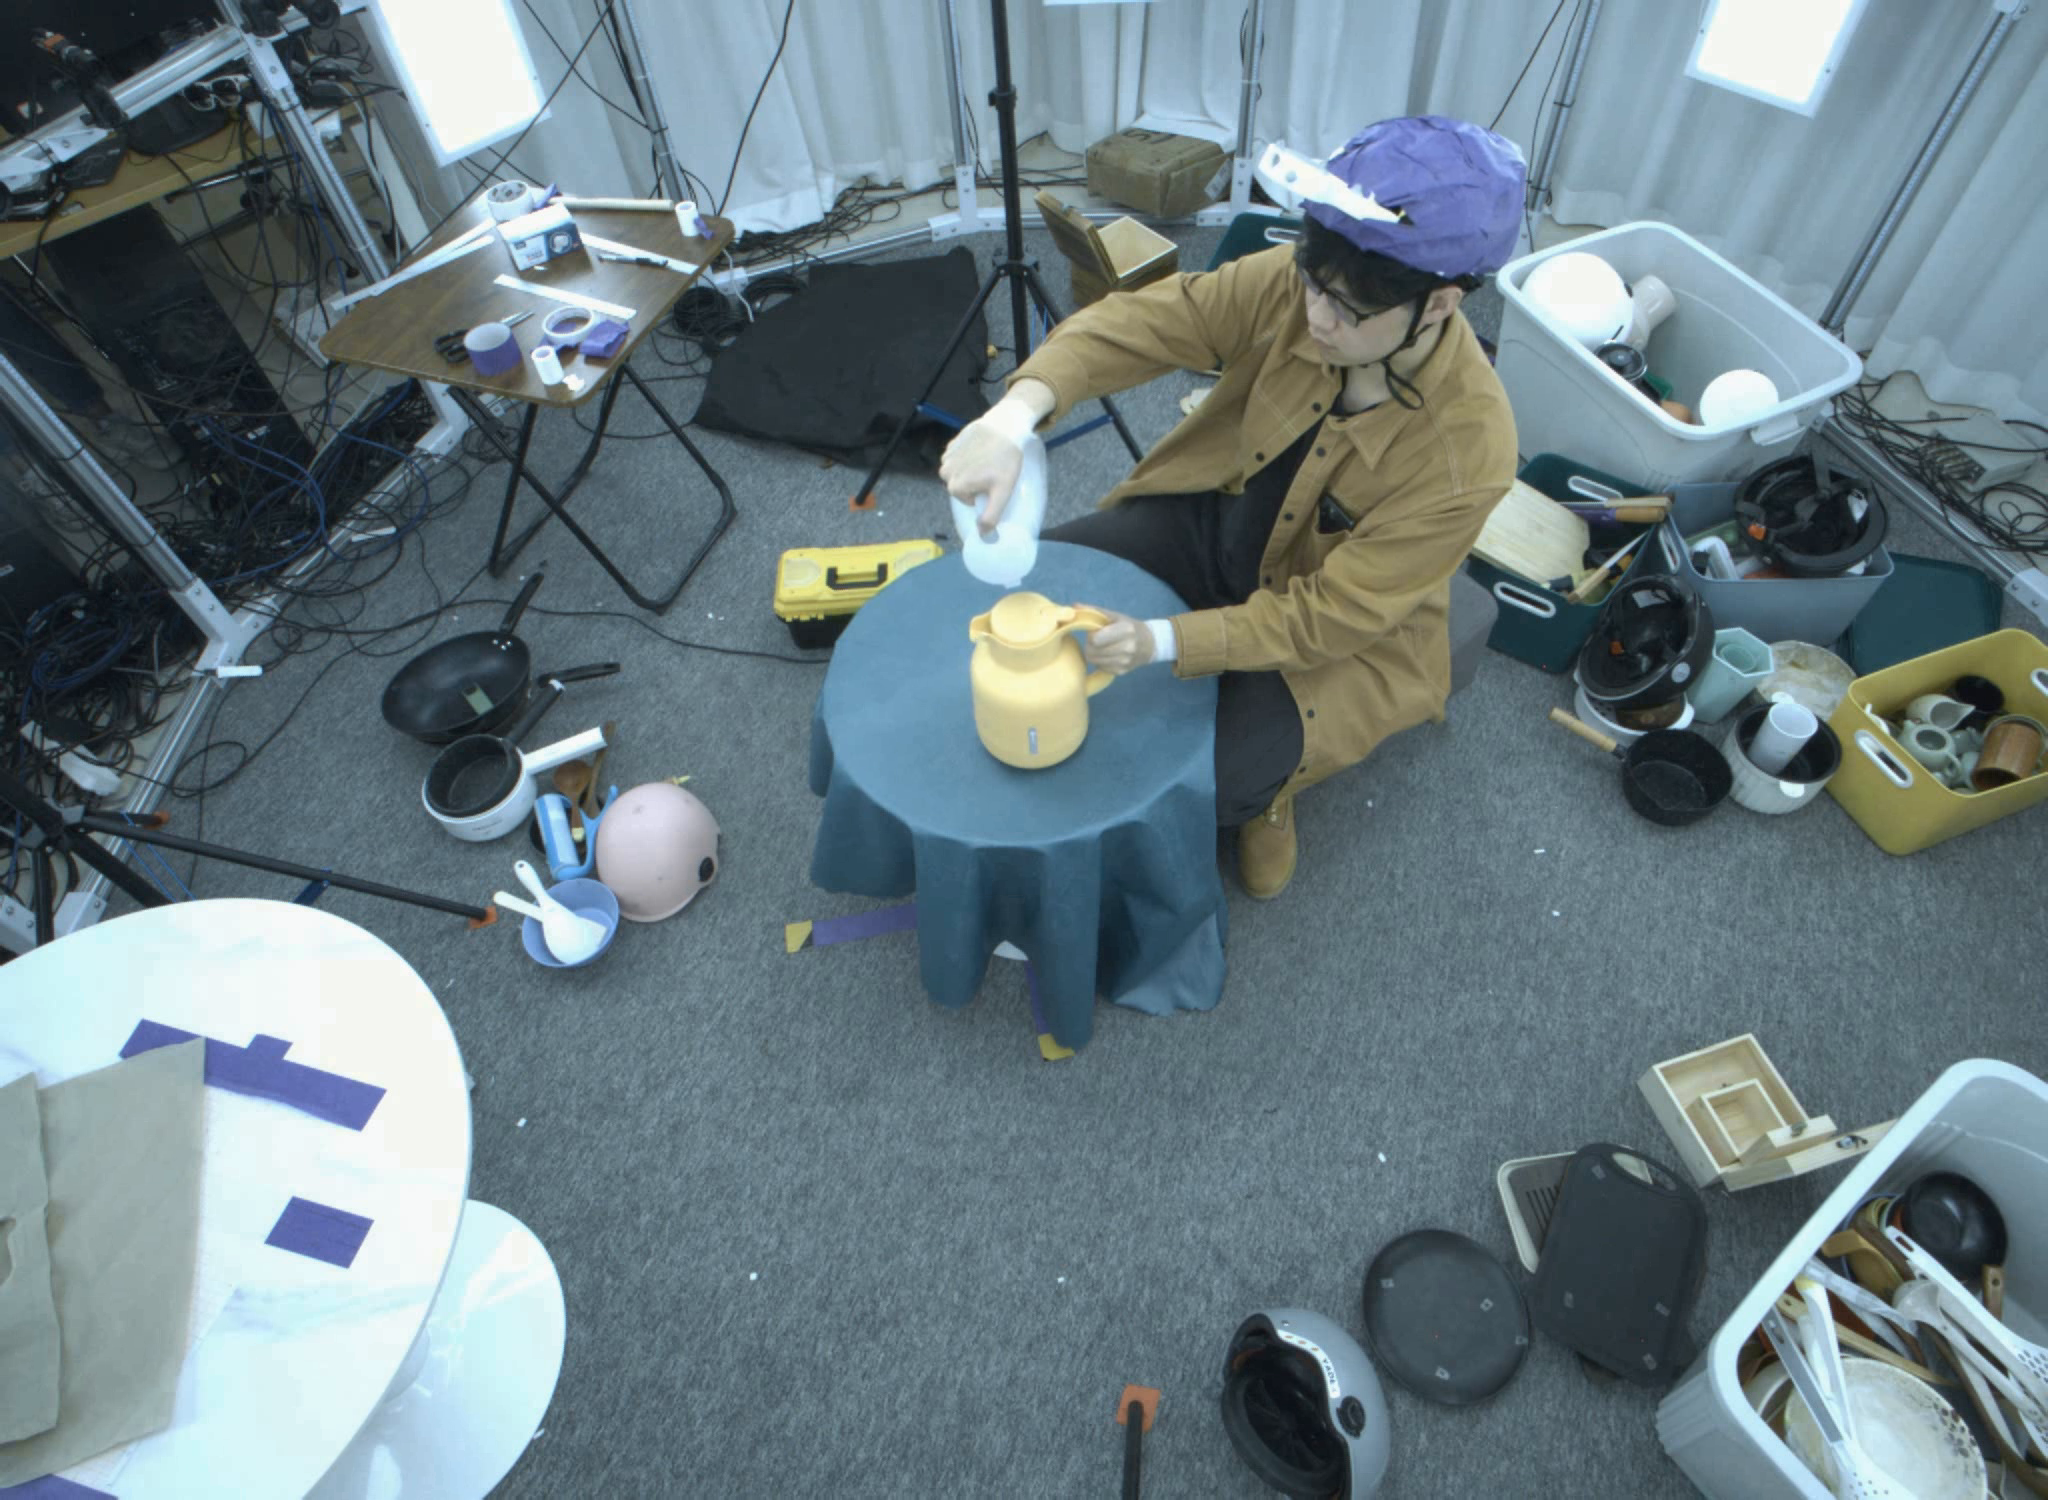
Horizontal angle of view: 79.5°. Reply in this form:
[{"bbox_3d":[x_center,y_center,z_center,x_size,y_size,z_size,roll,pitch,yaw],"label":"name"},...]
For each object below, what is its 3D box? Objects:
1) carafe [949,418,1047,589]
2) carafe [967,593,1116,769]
[{"bbox_3d":[-0.041,-0.333,1.577,0.132,0.171,0.245,-13,42,10],"label":"carafe"},{"bbox_3d":[0.026,-0.101,1.695,0.202,0.263,0.161,-4,56,2],"label":"carafe"}]
